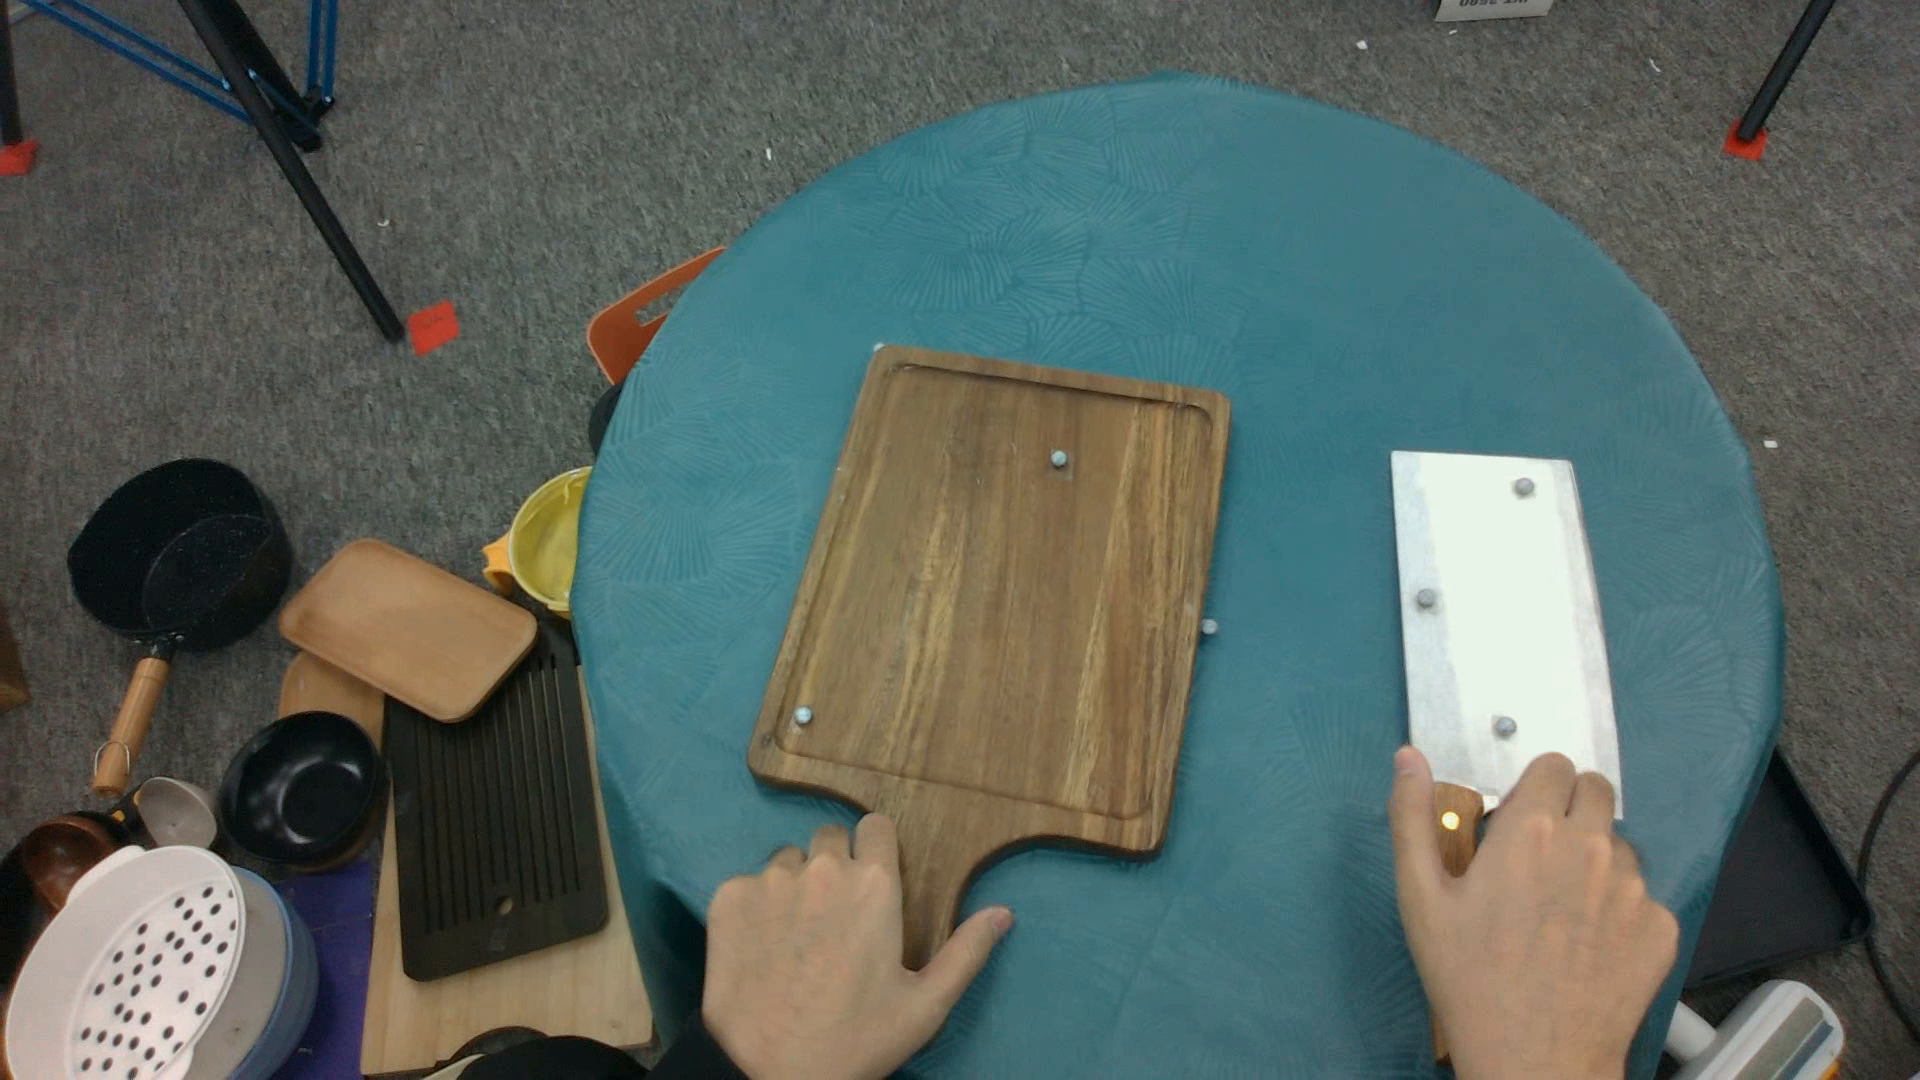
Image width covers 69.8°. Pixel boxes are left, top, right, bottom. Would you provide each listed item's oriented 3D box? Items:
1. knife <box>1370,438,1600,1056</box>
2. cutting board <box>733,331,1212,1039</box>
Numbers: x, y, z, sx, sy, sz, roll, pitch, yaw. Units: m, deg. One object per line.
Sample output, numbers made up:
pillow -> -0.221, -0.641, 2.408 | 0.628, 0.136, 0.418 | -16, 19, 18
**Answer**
knife -> 0.242, 0.079, 0.632 | 0.093, 0.021, 0.307 | 4, 59, 4
cutting board -> 0.004, 0.054, 0.657 | 0.201, 0.023, 0.353 | 9, 62, 8
